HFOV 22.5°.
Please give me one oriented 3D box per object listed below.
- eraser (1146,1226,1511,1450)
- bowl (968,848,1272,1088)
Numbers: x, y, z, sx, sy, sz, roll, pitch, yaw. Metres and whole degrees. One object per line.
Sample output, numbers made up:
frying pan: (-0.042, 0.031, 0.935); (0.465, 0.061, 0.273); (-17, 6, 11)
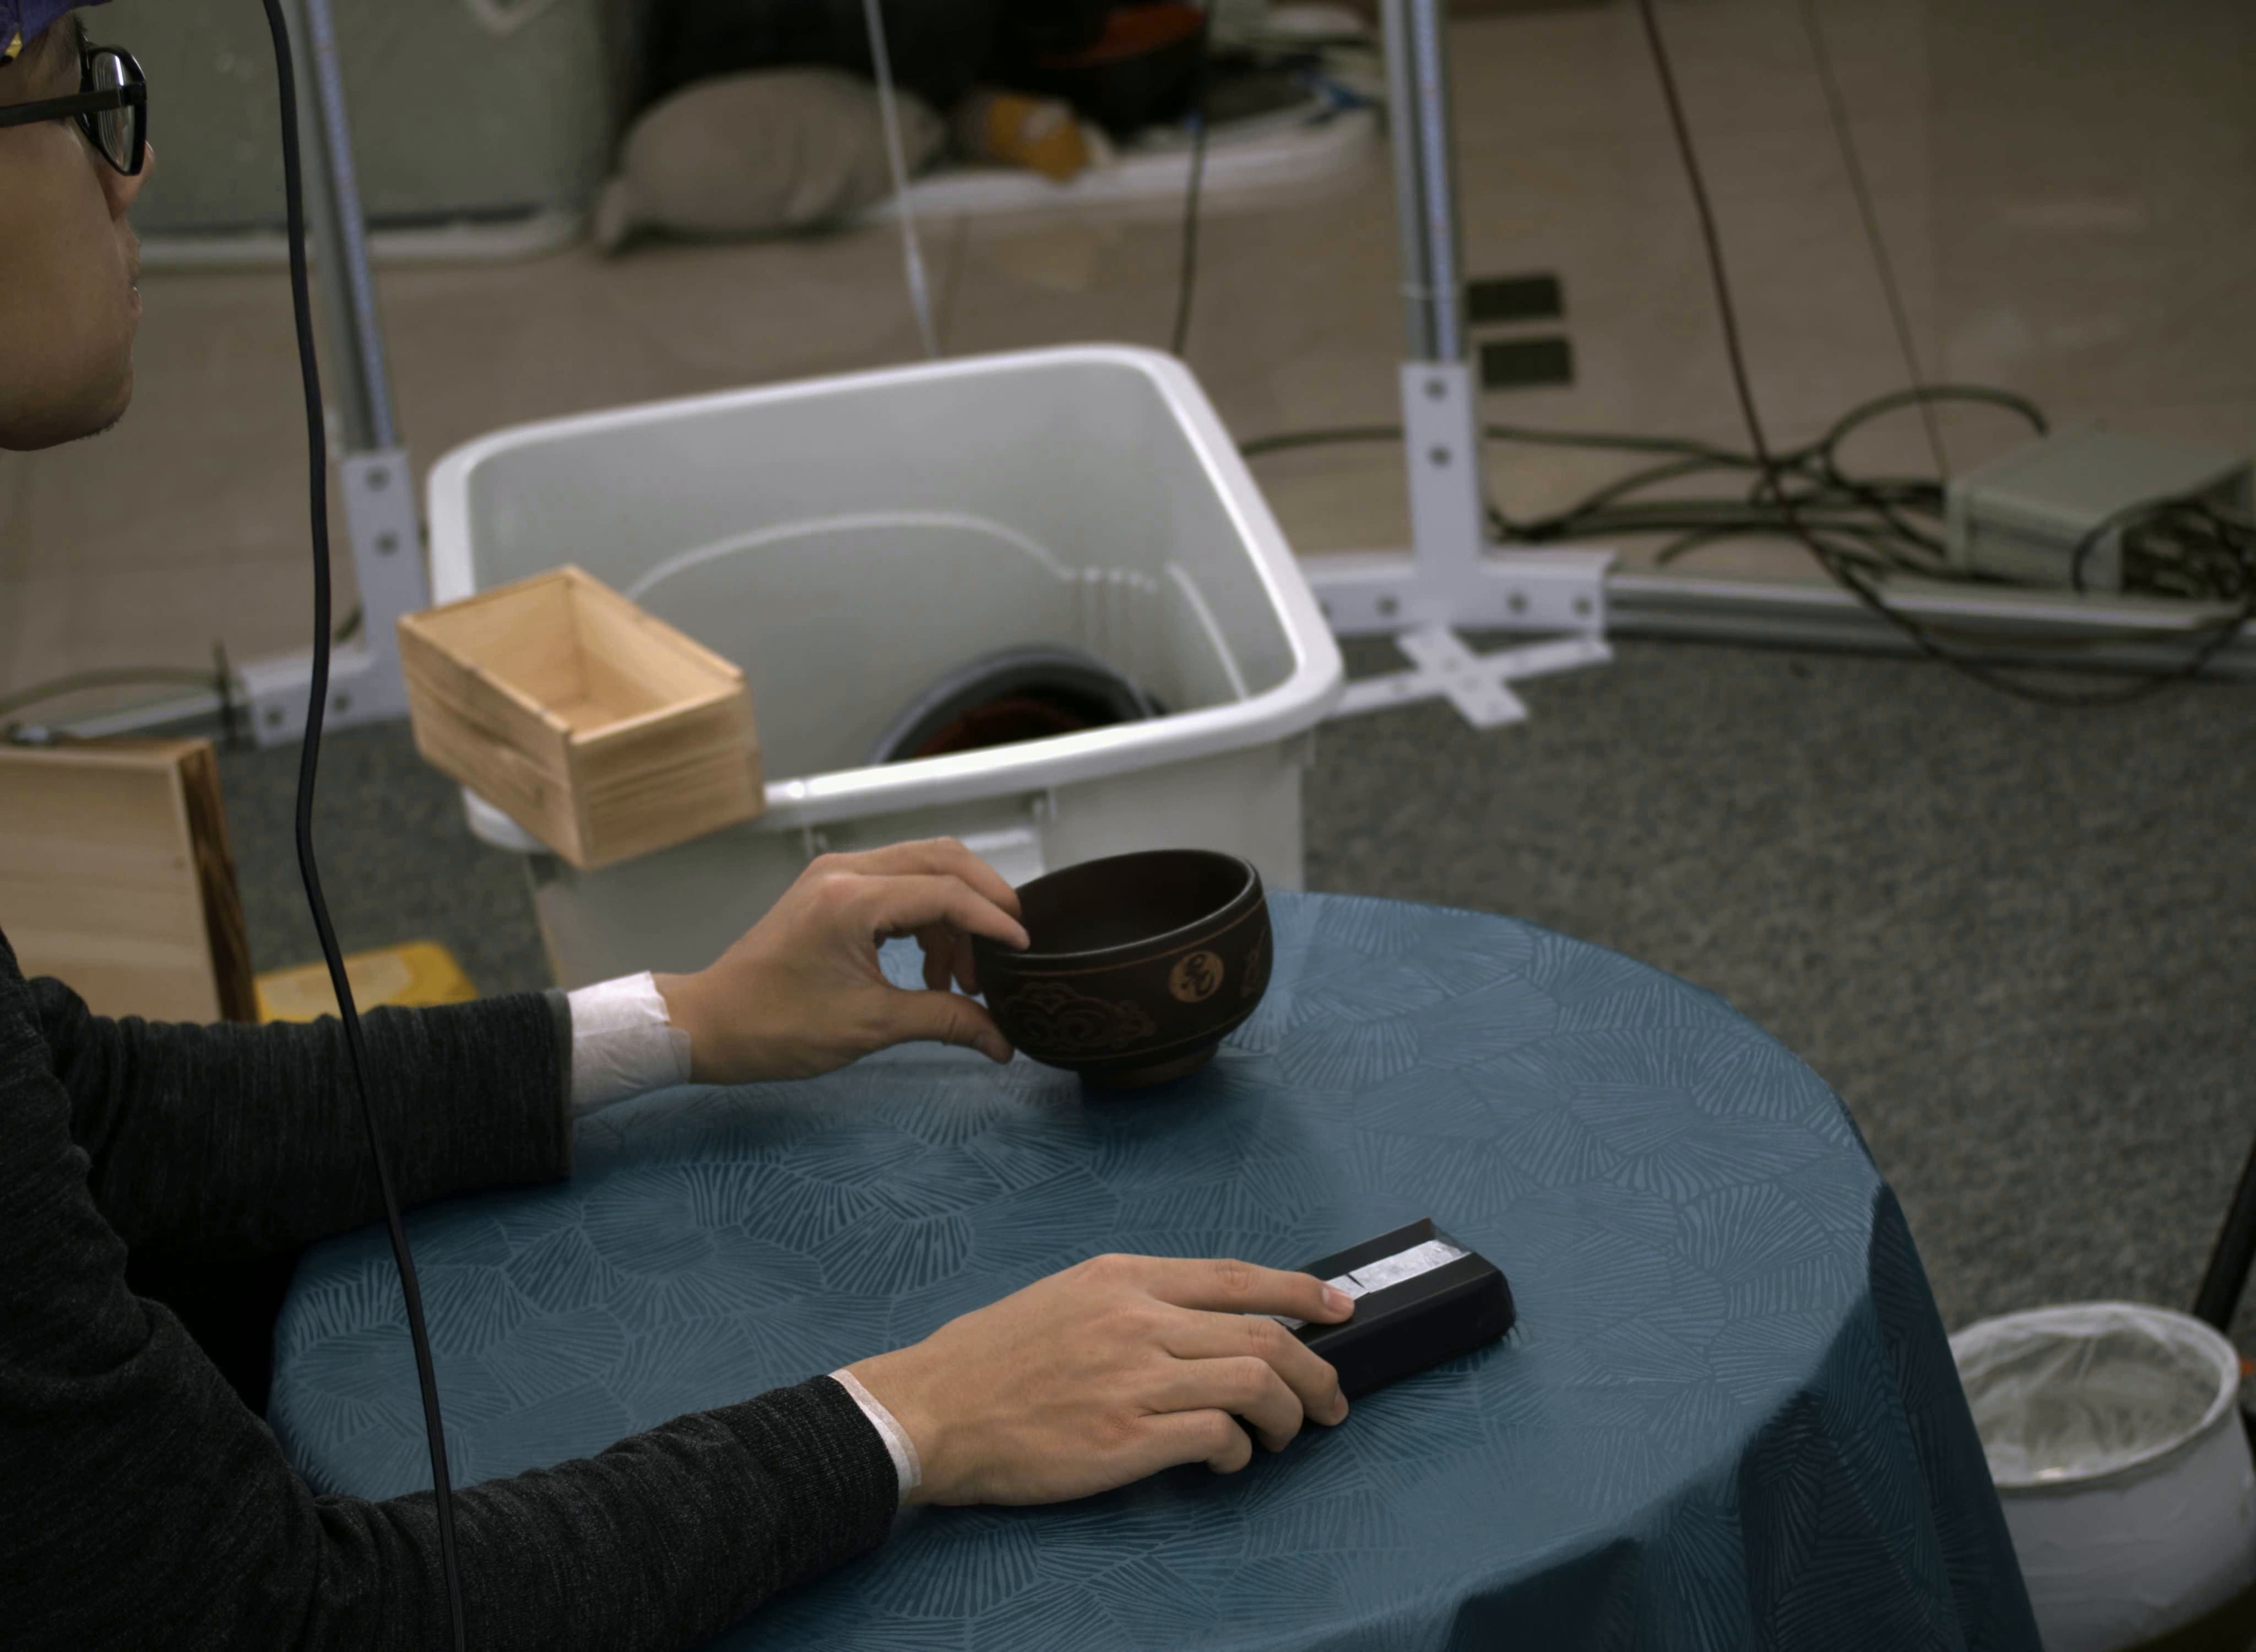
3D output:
eraser: (0.072, 0.179, 2.006); (0.125, 0.031, 0.053); (-20, 29, -27)
bowl: (0.000, 0.060, 2.223); (0.118, 0.071, 0.116); (-10, 19, 4)
